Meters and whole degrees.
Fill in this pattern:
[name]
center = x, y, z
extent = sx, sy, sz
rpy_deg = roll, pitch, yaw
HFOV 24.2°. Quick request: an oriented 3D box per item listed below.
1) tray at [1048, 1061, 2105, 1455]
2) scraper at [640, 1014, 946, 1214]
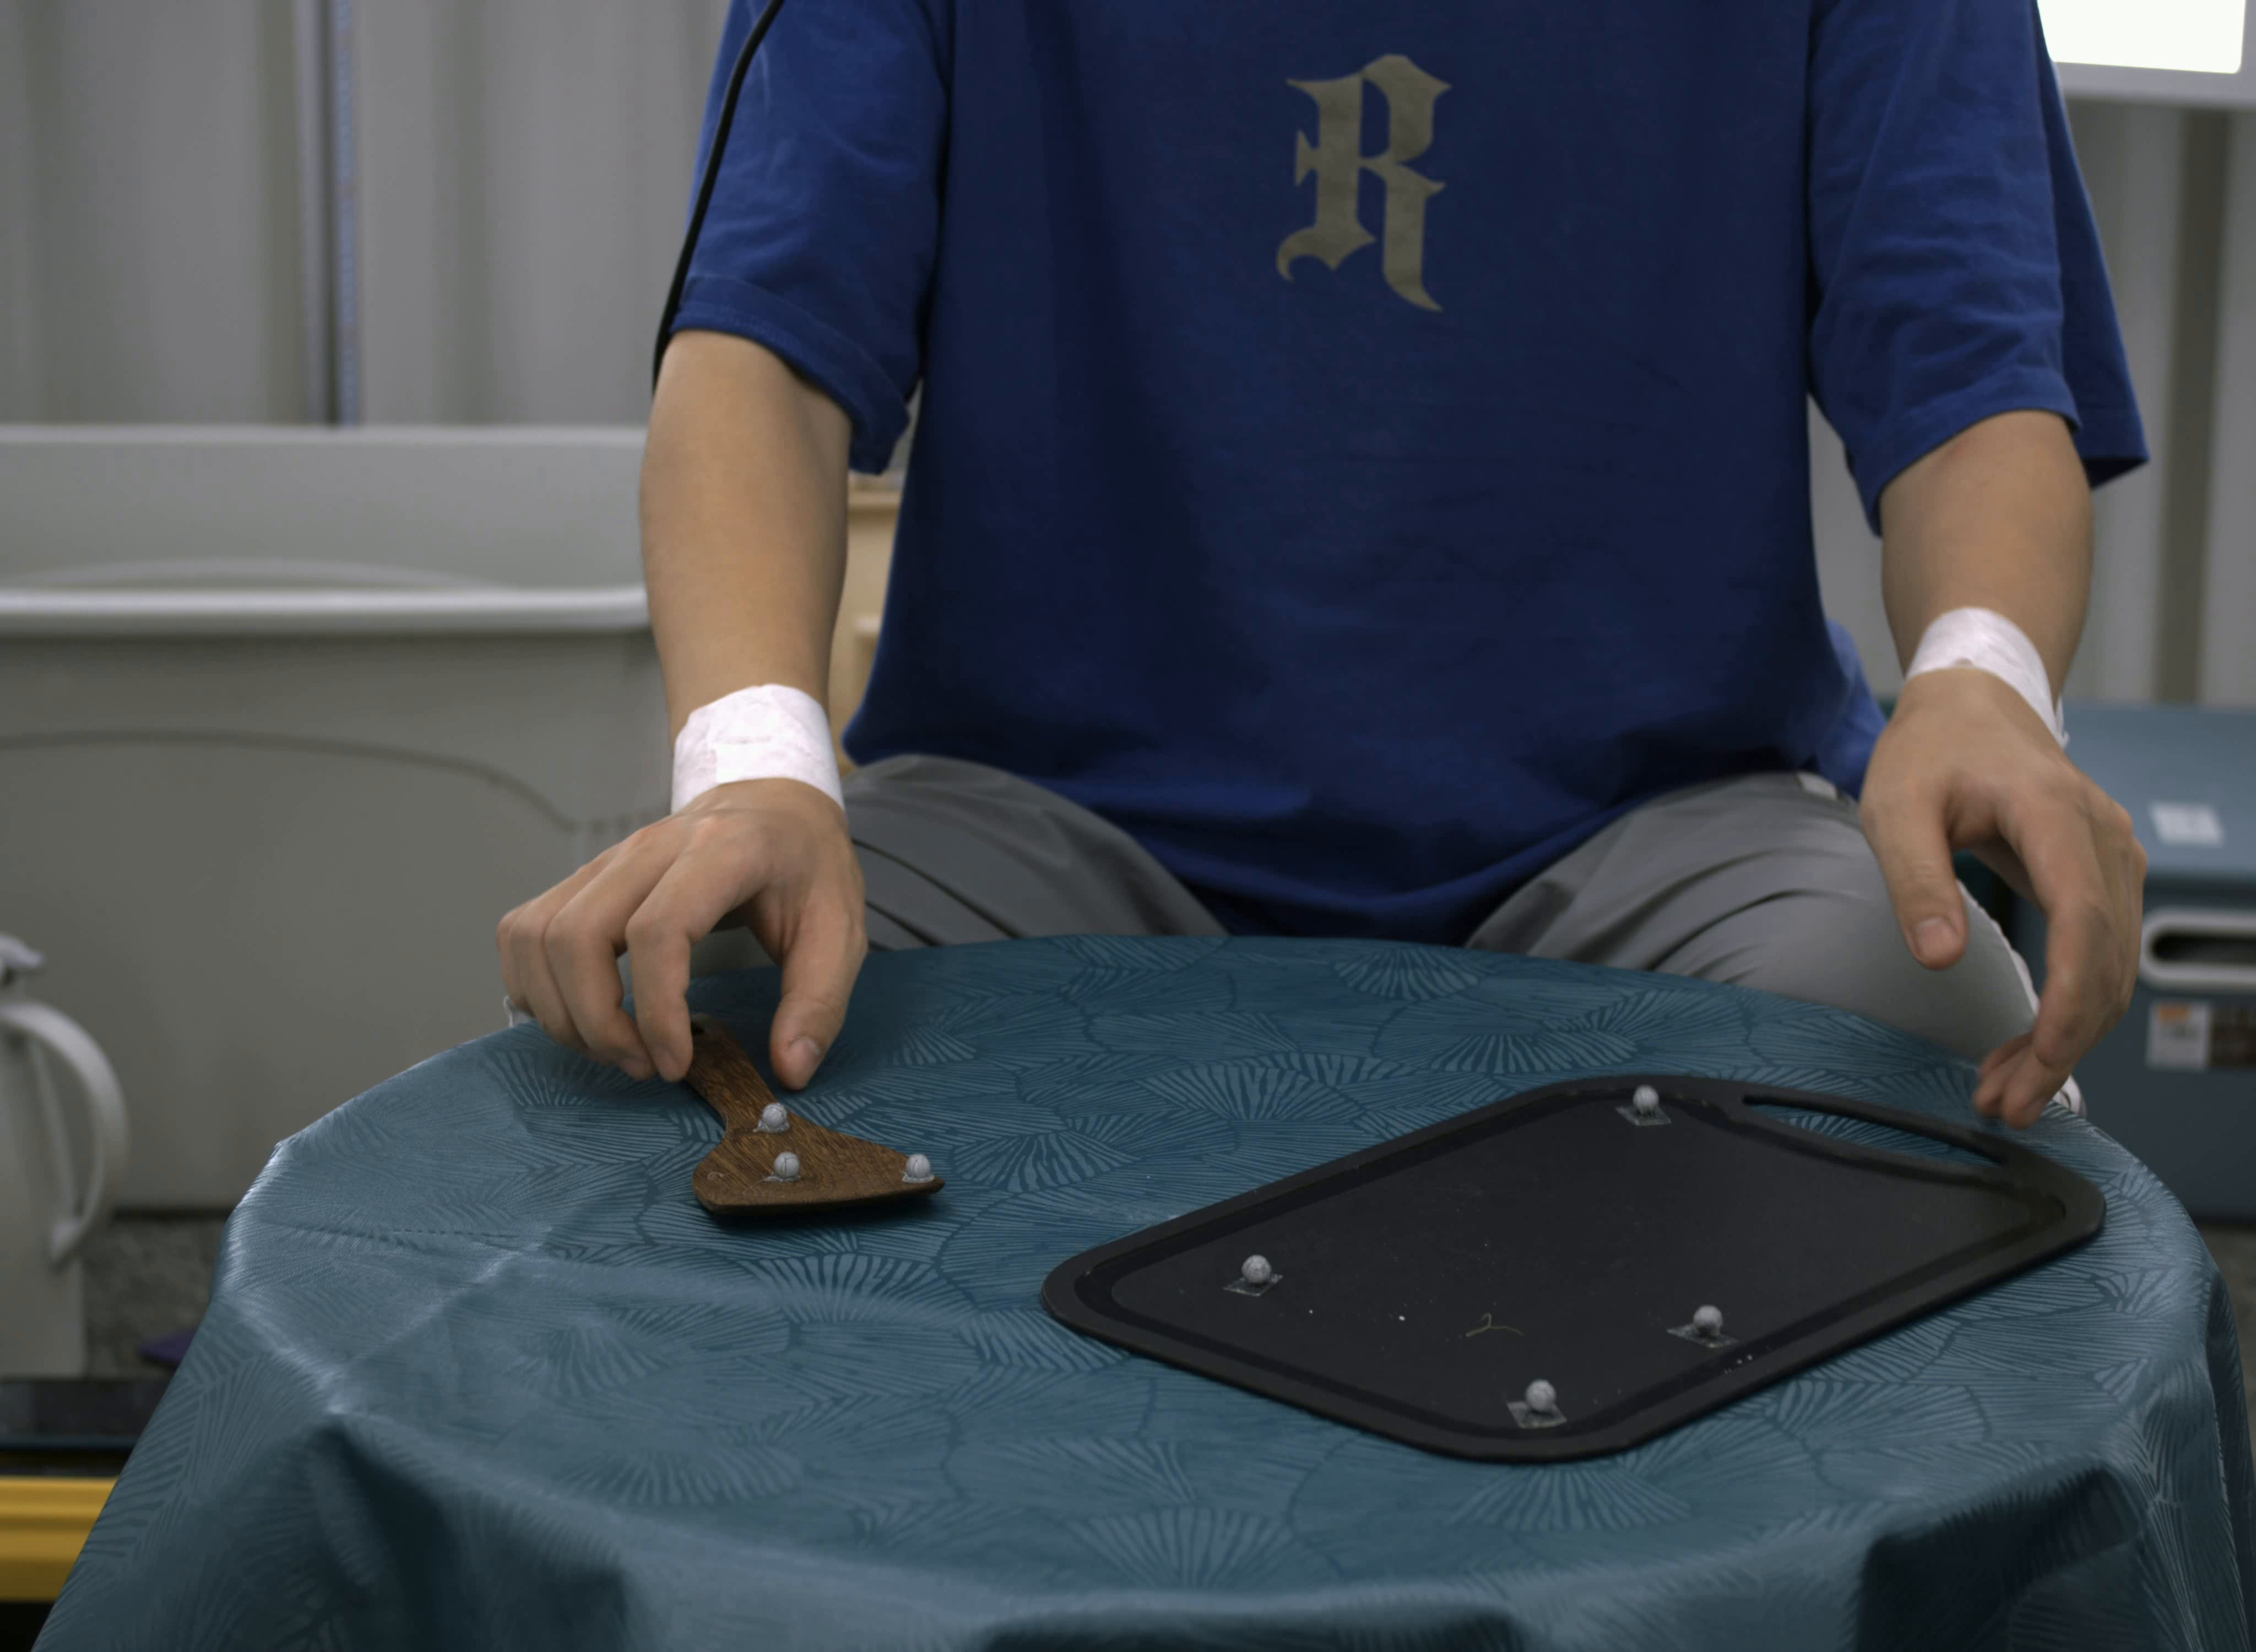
[tray]
center = 0.142, 0.120, 1.577
extent = 0.208, 0.010, 0.327
rpy_deg = 14, 21, 41
[scraper]
center = -0.120, 0.091, 1.679
extent = 0.076, 0.011, 0.209
rpy_deg = -4, 15, -18
